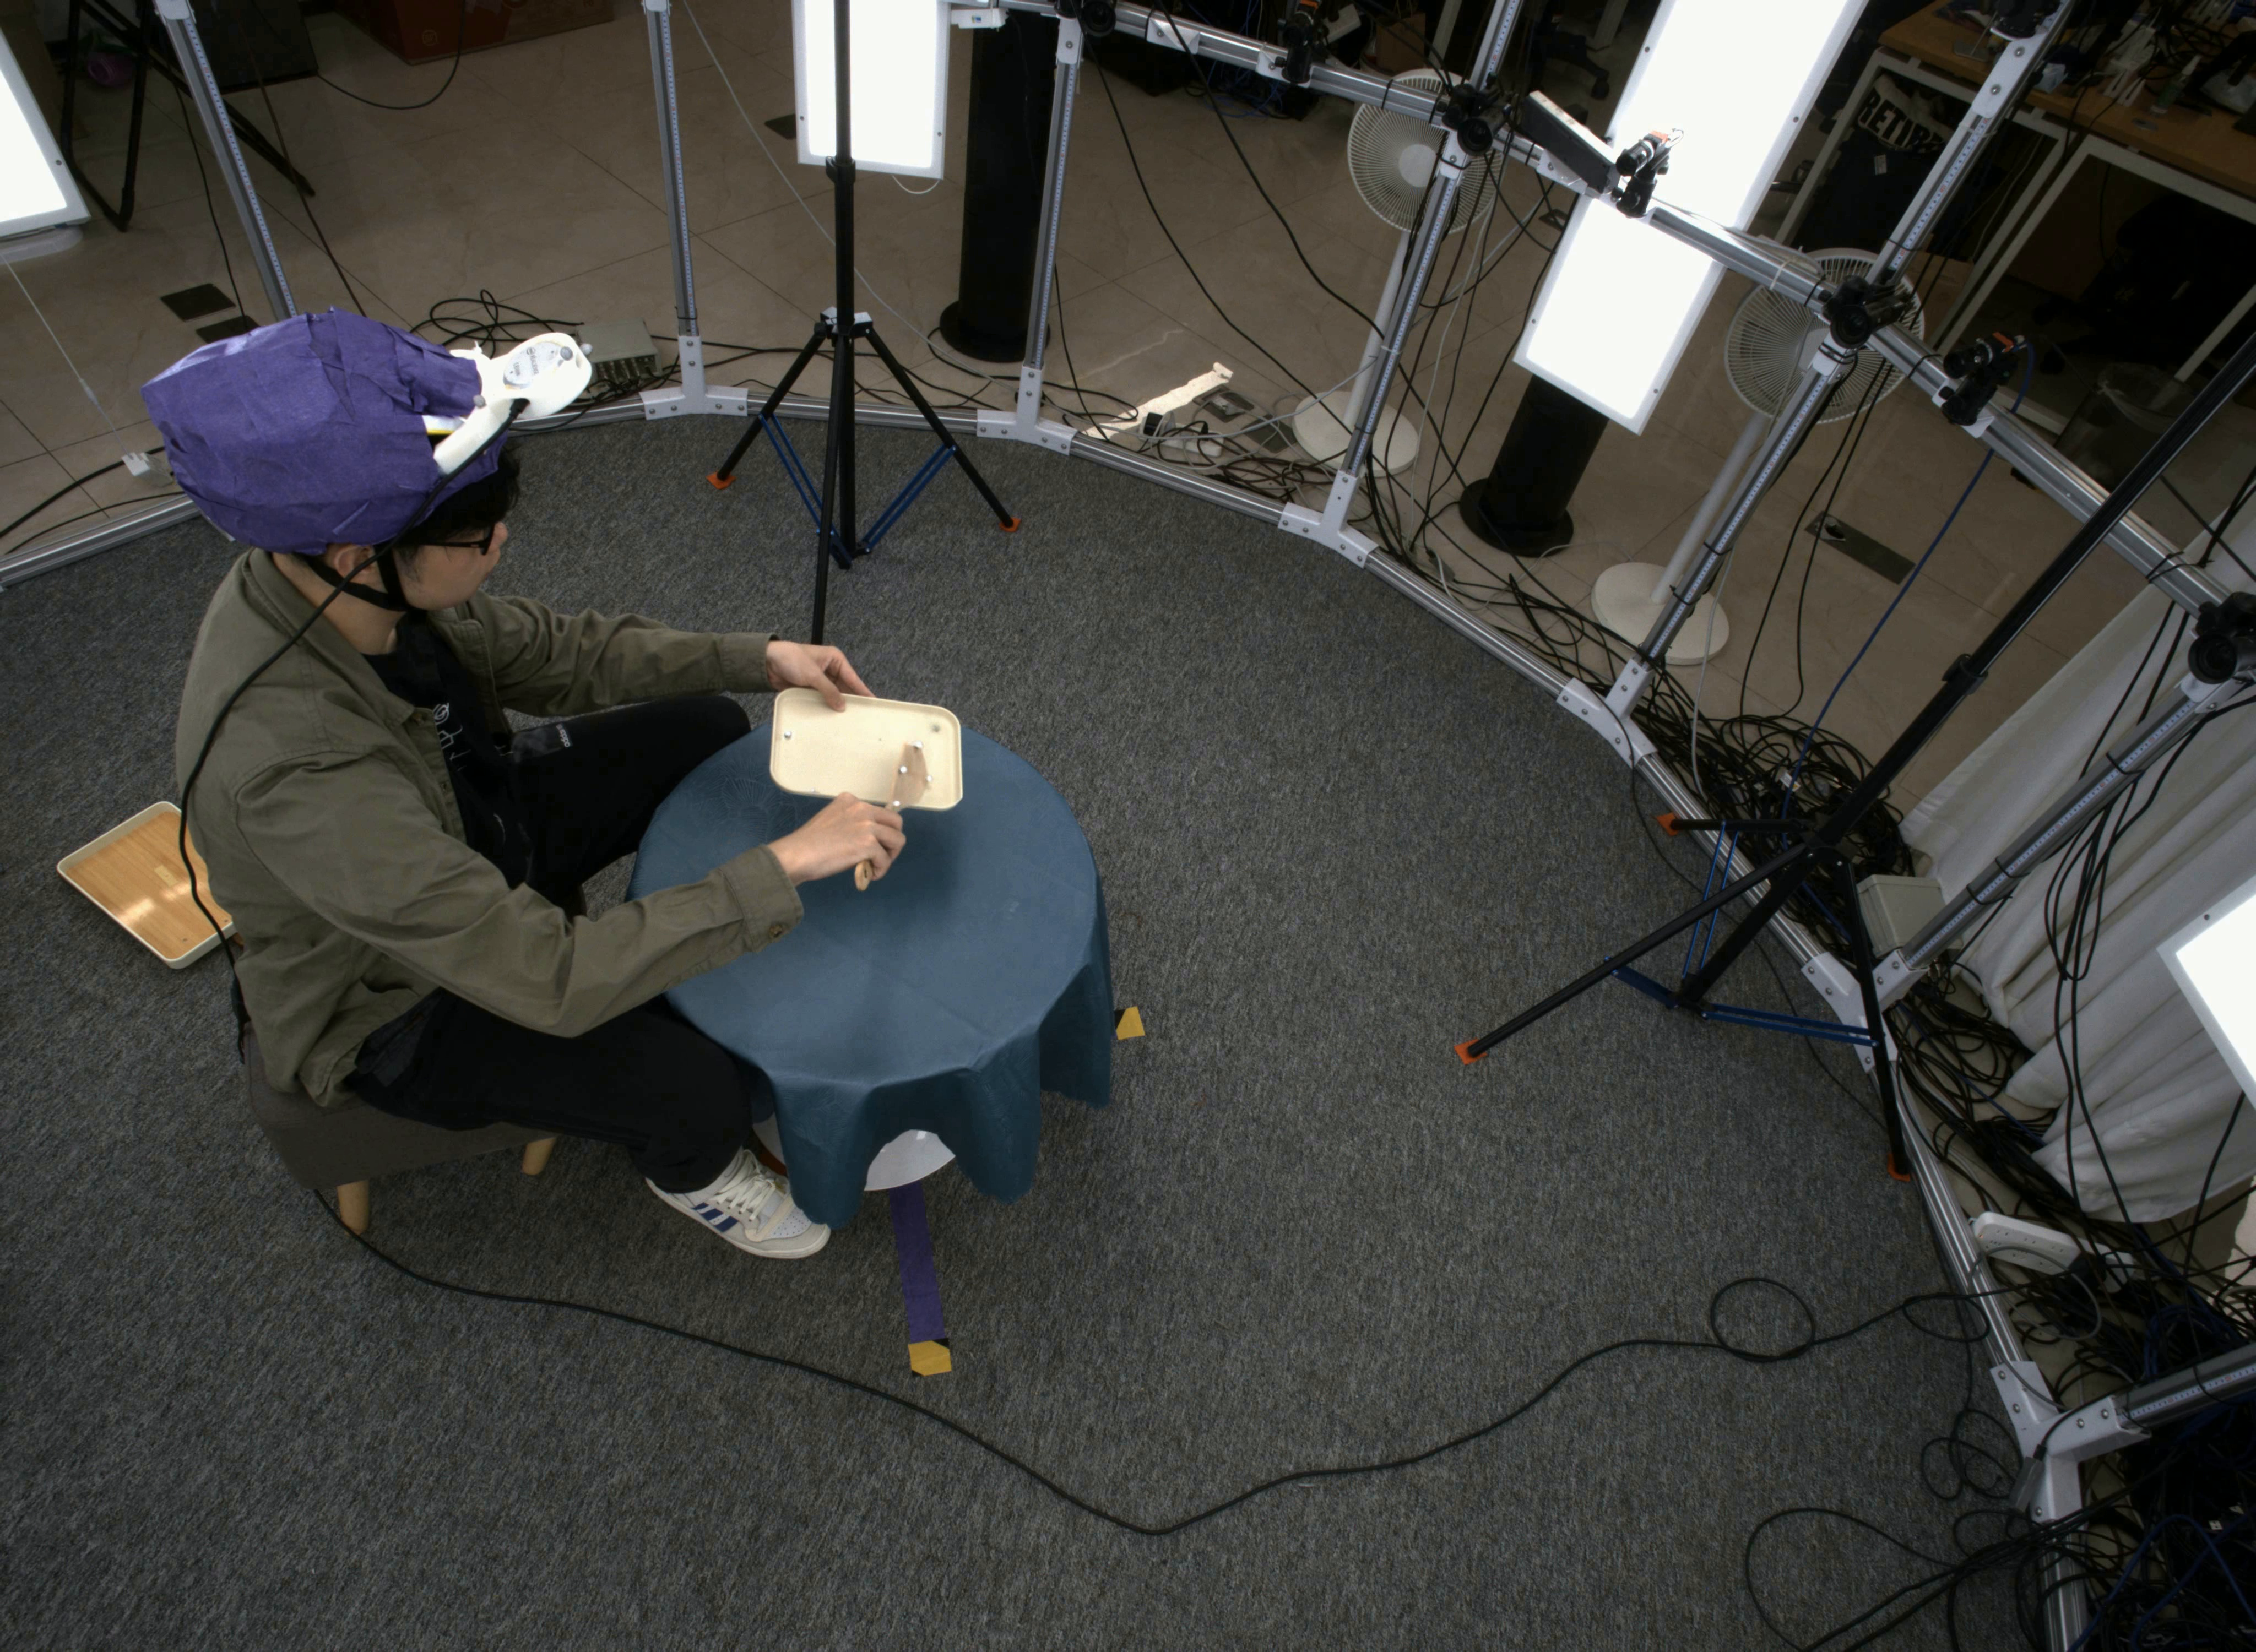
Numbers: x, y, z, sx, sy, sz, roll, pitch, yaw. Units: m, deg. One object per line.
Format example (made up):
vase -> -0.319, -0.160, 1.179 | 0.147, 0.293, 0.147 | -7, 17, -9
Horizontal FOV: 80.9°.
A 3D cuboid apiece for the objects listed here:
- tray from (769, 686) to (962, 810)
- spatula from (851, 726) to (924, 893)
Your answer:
tray -> -0.330, -0.097, 1.643 | 0.242, 0.018, 0.168 | 7, 52, -20
spatula -> -0.276, -0.018, 1.495 | 0.016, 0.083, 0.321 | -4, 29, 5
